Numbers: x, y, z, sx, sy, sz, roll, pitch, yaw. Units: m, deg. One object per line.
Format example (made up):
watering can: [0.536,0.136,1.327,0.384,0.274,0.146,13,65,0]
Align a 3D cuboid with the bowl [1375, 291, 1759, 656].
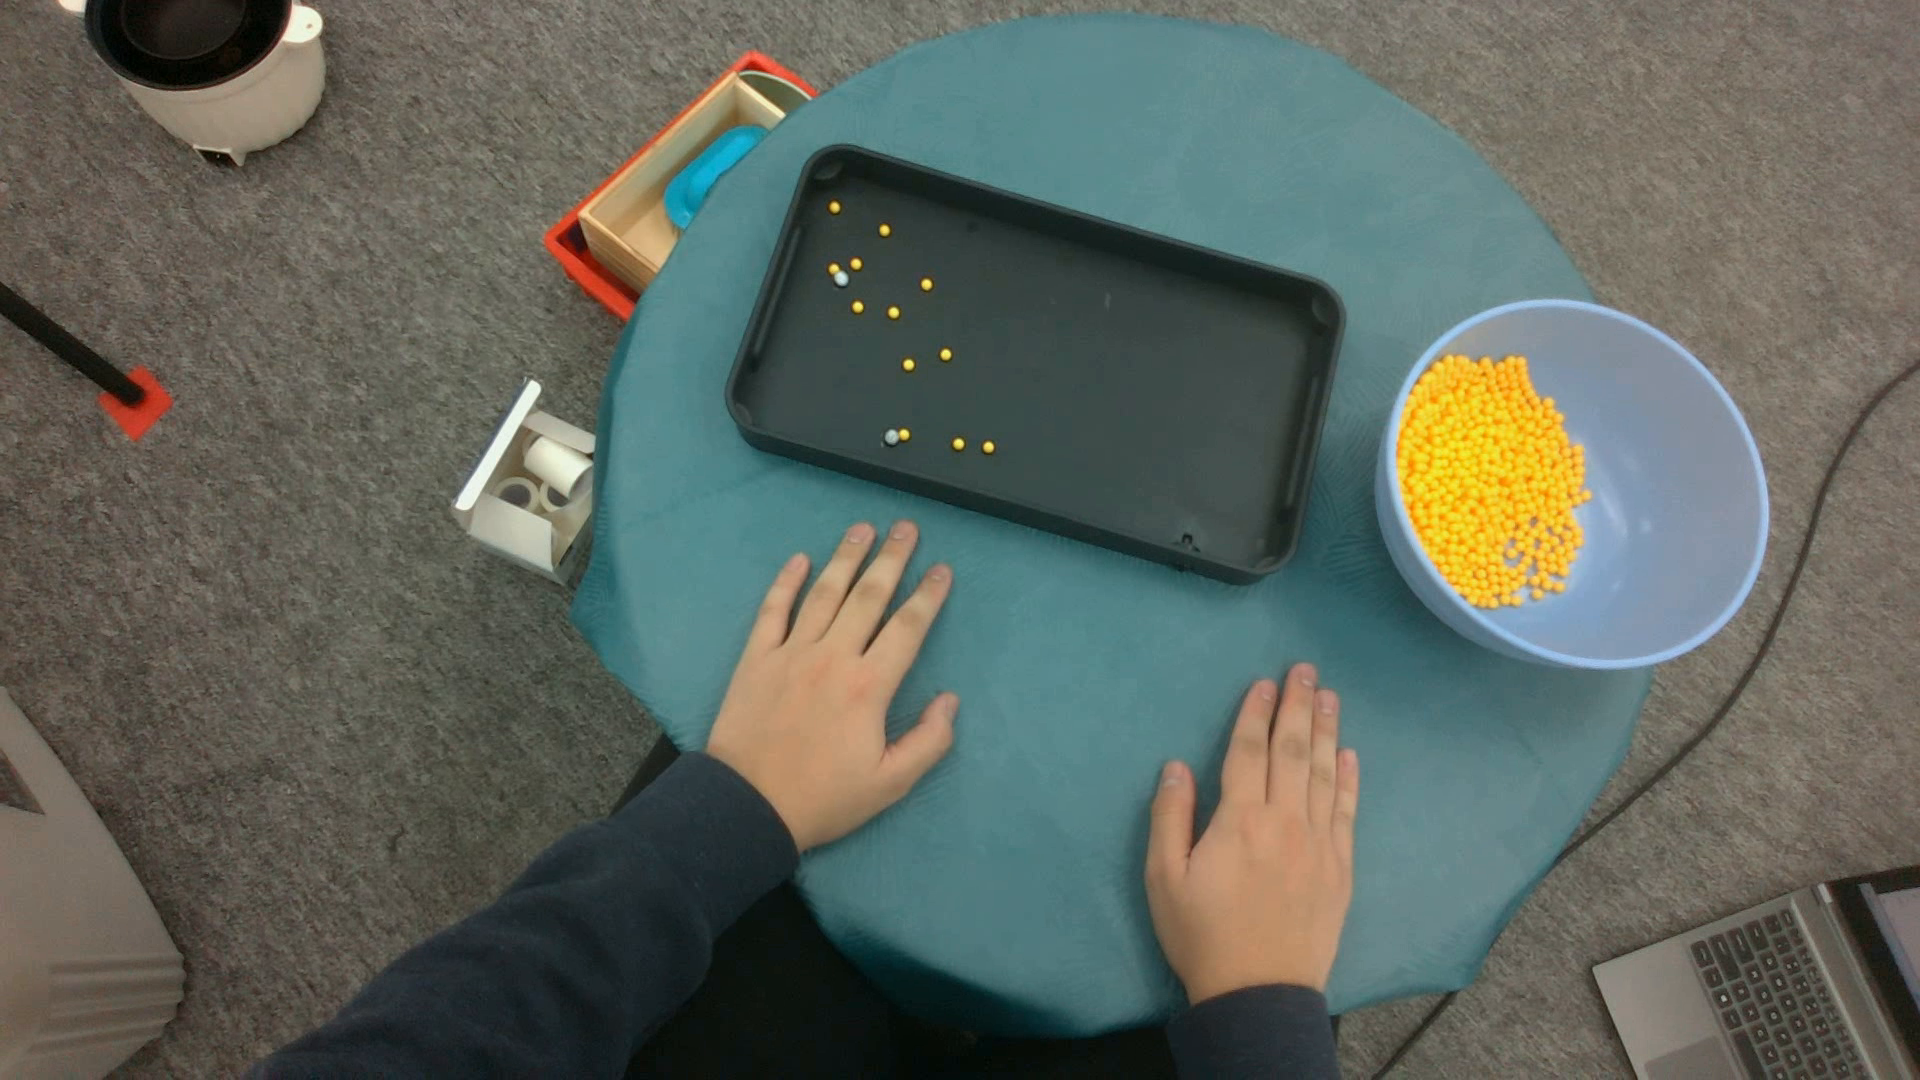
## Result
bowl: [0.310,-0.025,0.745,0.196,0.095,0.197,1,73,-4]

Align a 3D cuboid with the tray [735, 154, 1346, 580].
tray: [0.048,-0.098,0.779,0.318,0.037,0.185,15,72,1]
